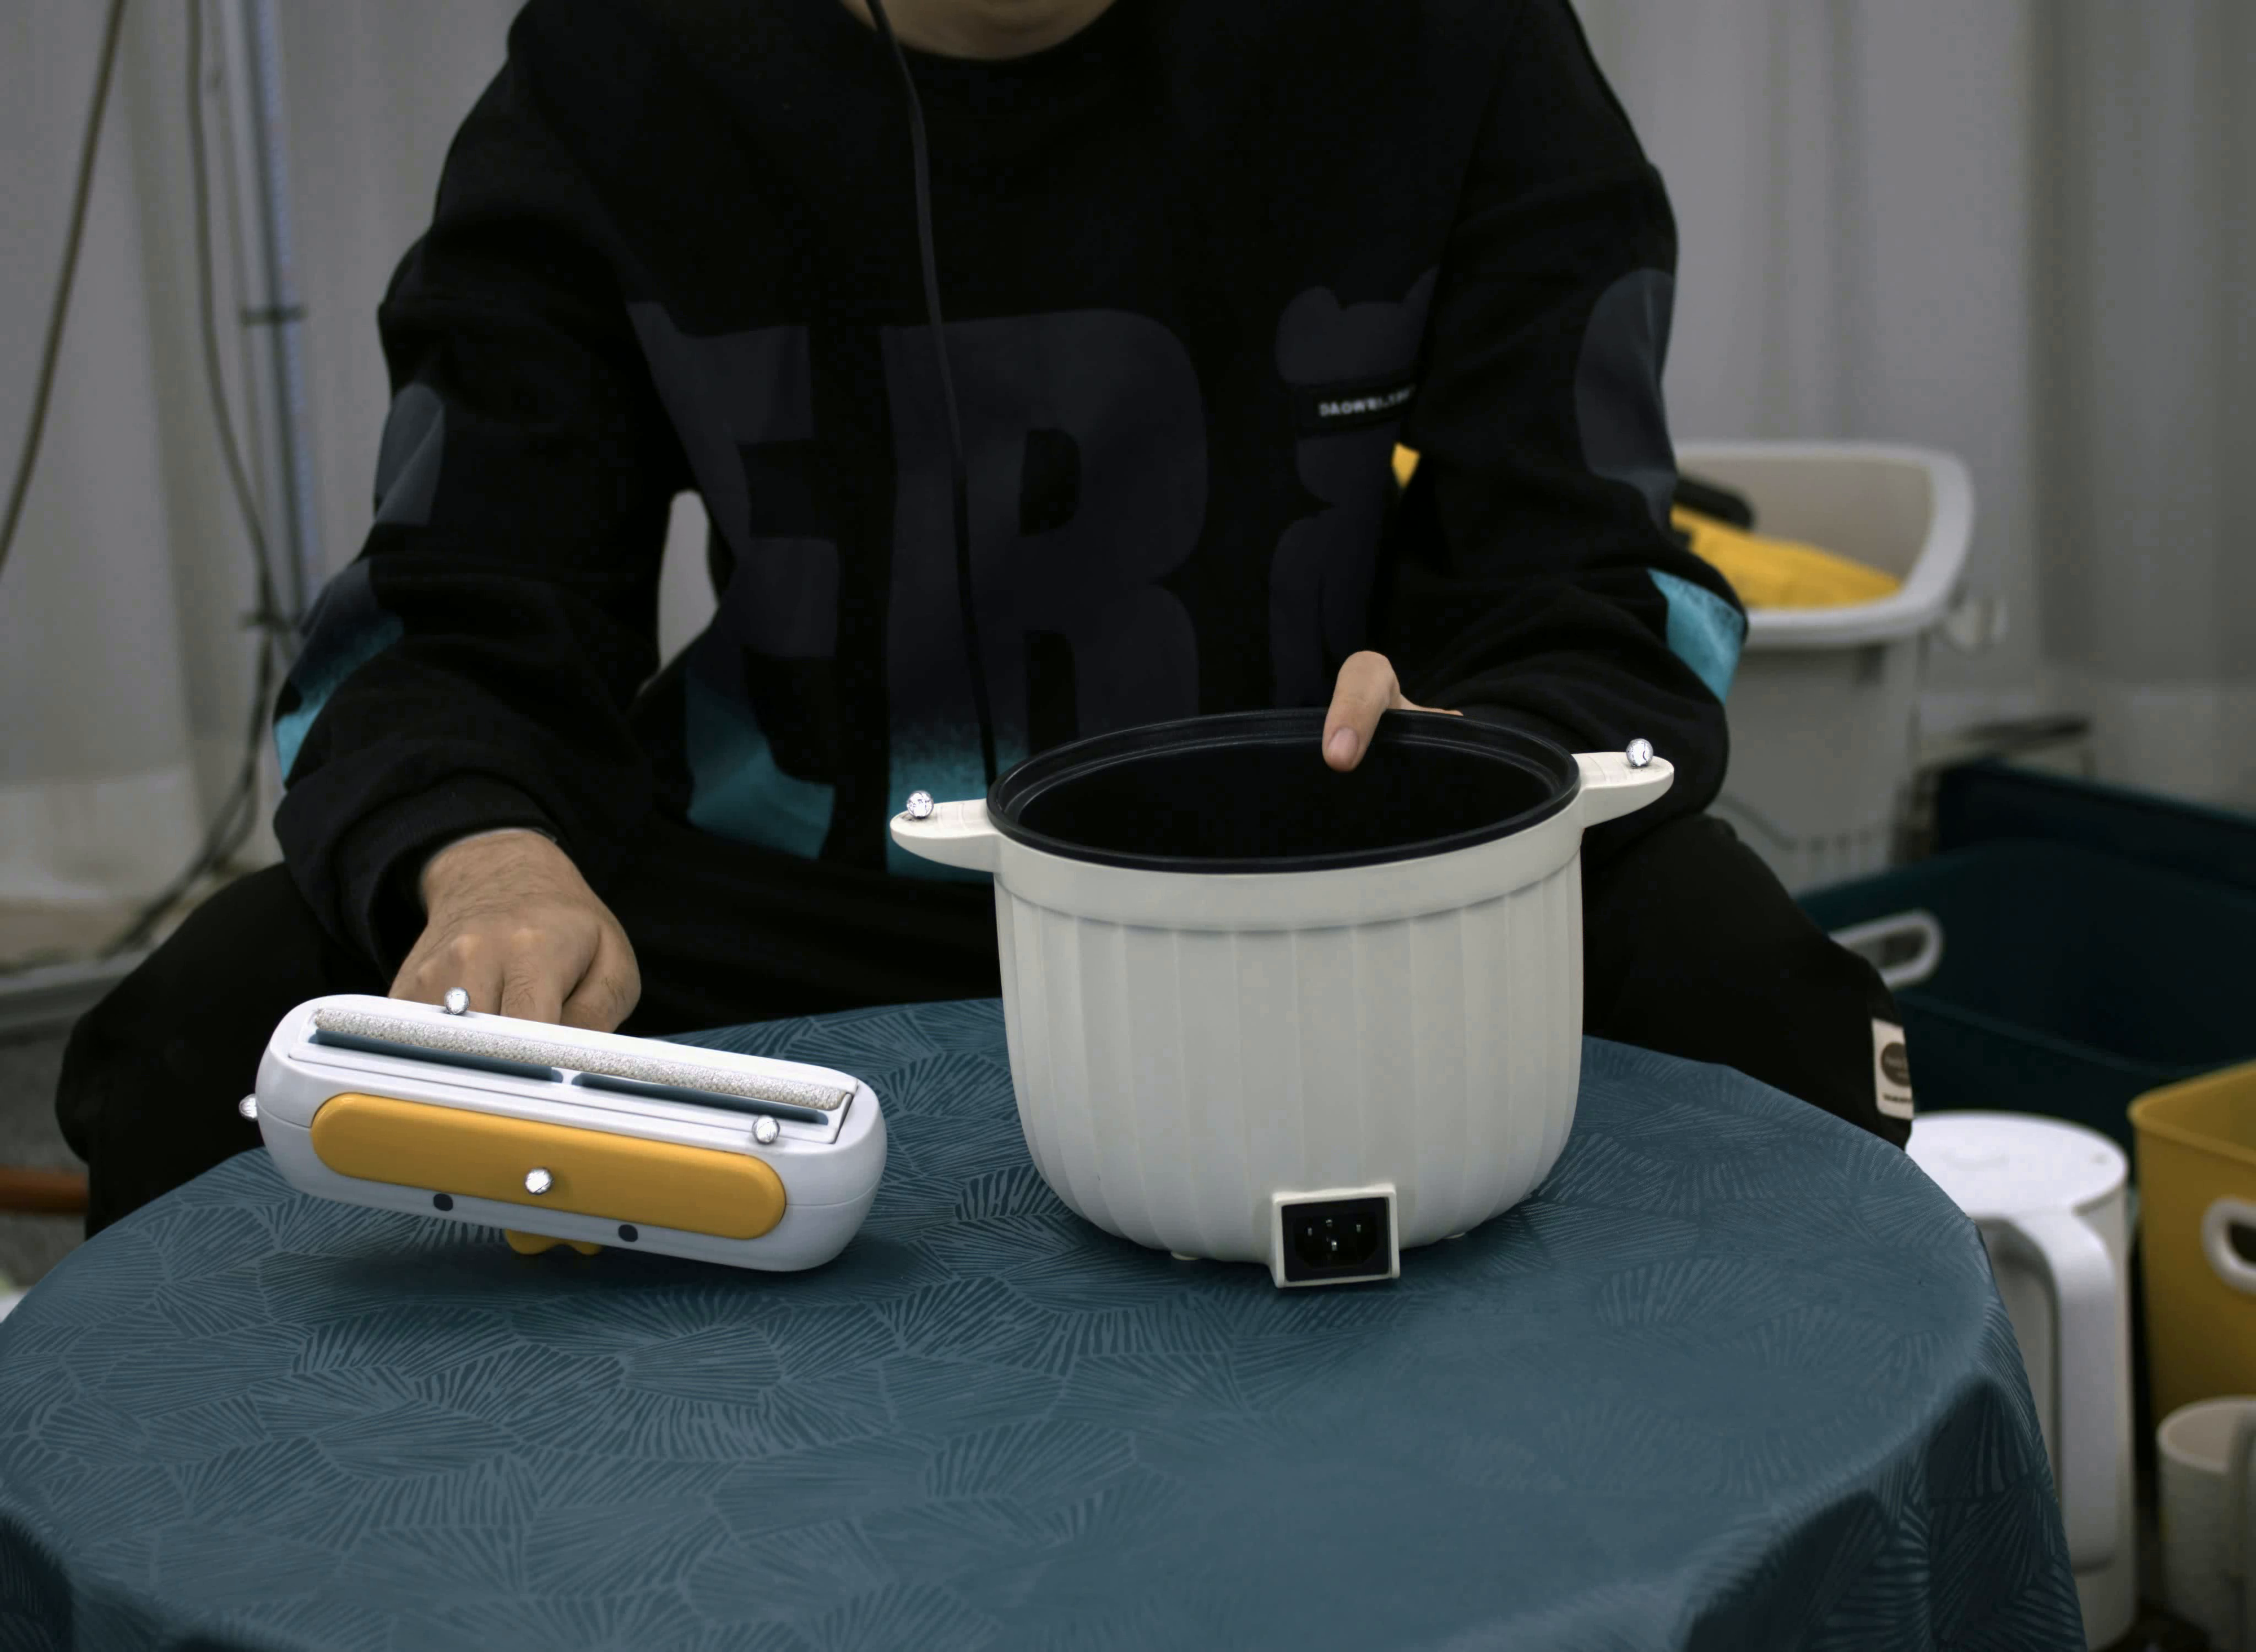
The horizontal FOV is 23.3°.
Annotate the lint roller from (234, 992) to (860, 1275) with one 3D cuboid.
[{"bbox_3d":[-0.167,0.086,1.726,0.192,0.074,0.193,5,15,10],"label":"lint roller"}]

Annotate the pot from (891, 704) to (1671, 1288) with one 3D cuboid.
[{"bbox_3d":[0.048,0.049,1.683,0.239,0.142,0.192,-3,17,-5],"label":"pot"}]
